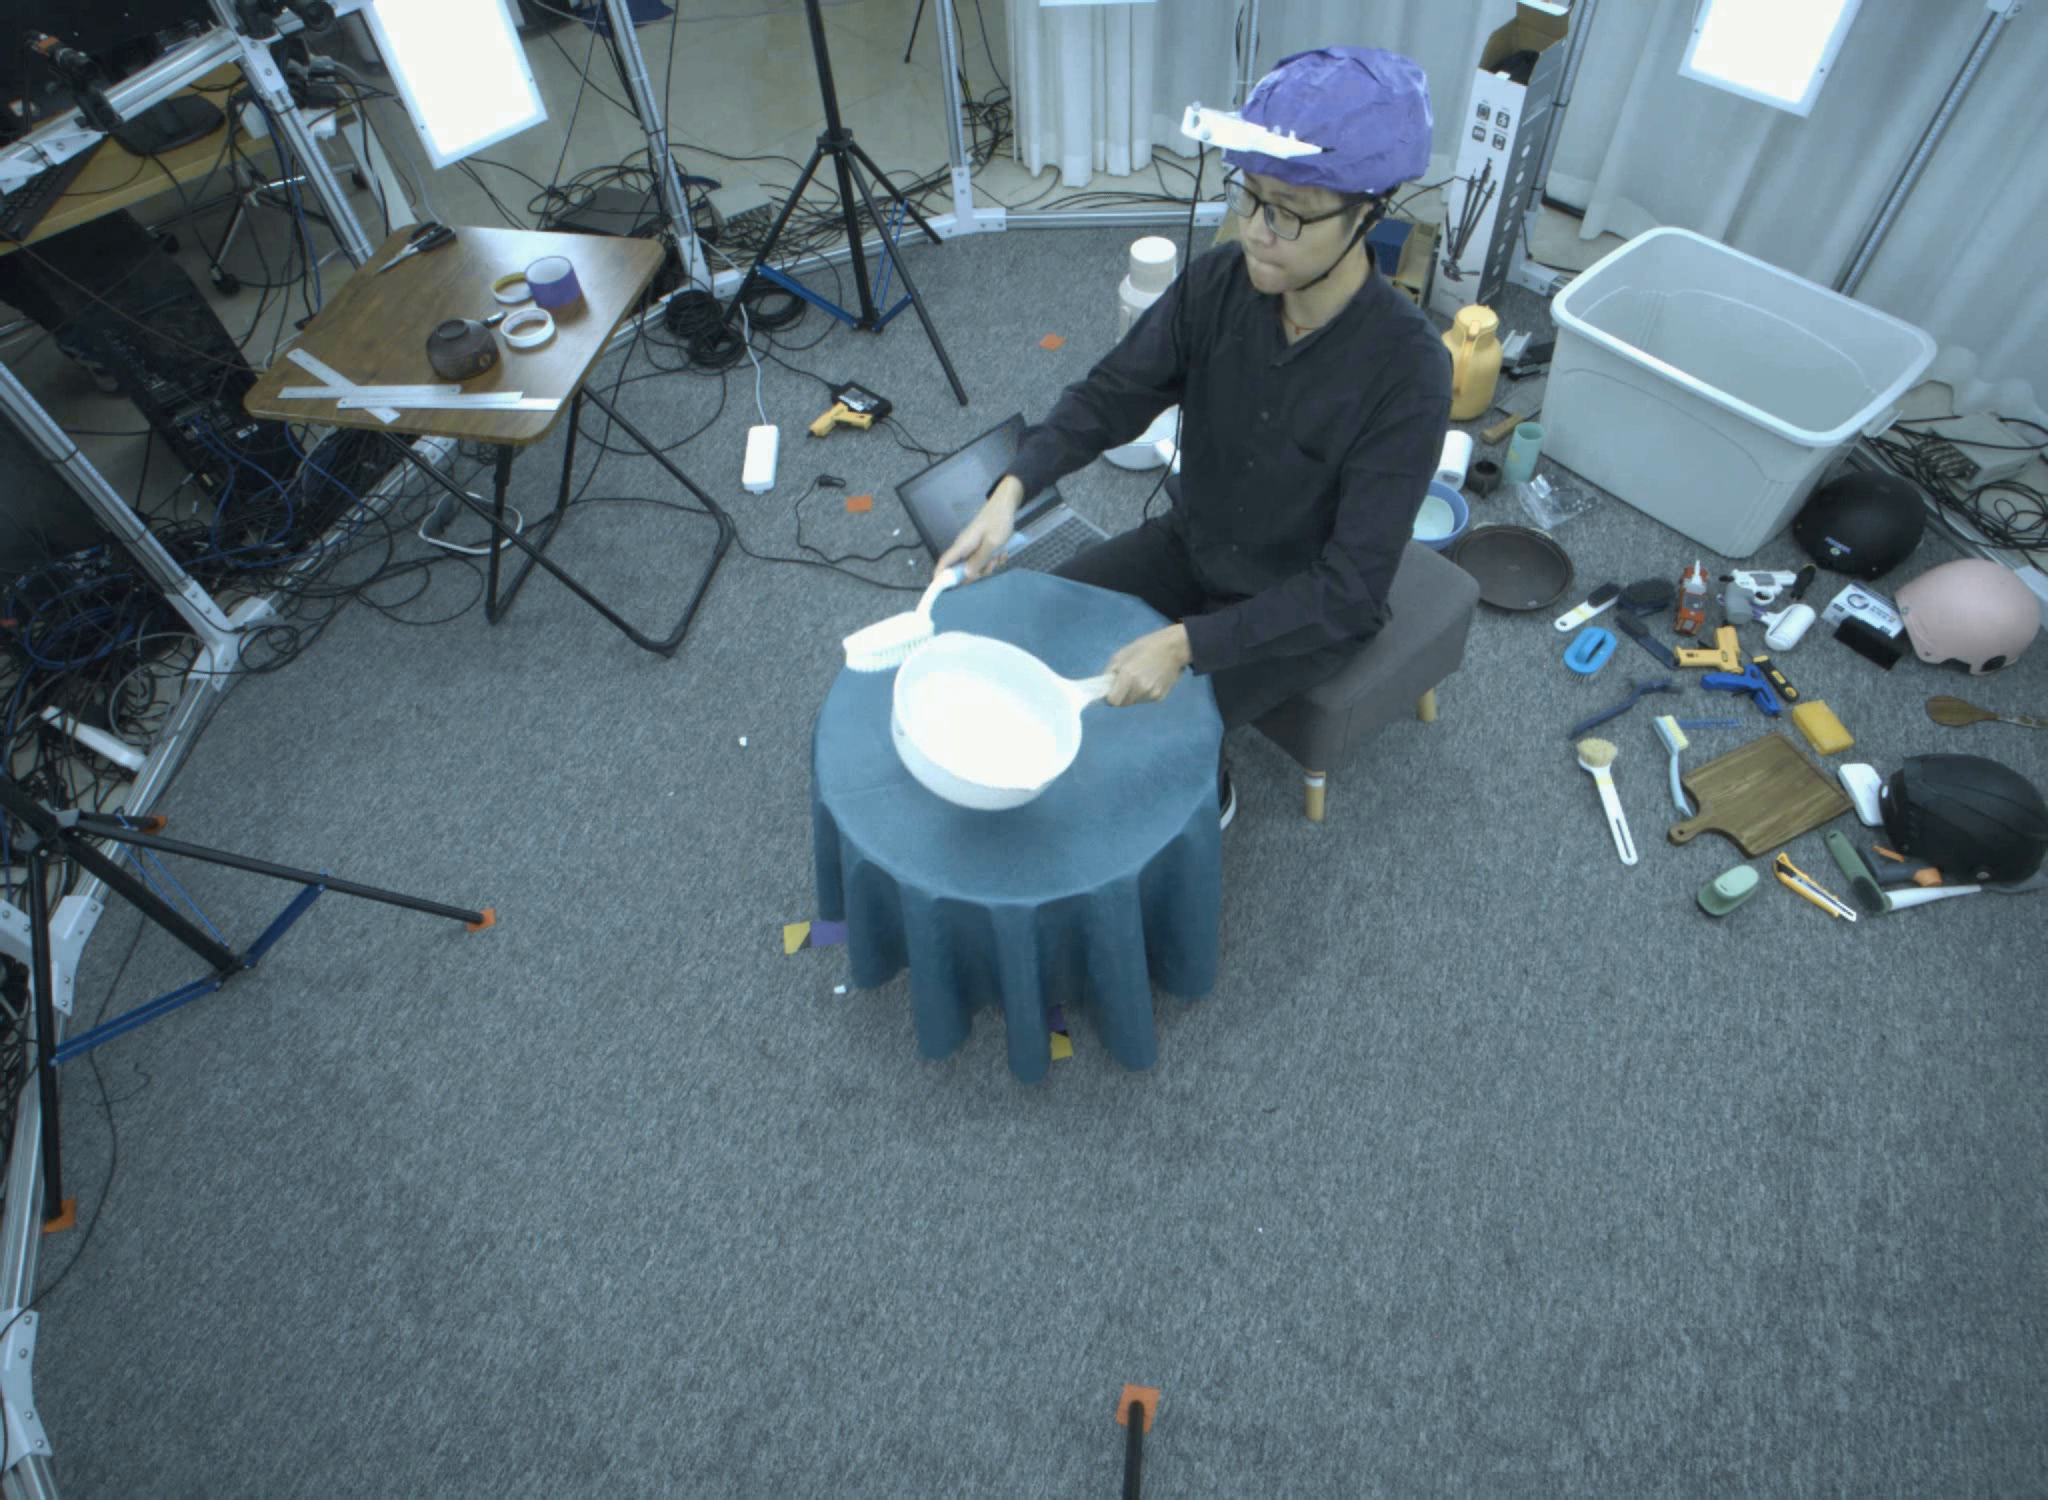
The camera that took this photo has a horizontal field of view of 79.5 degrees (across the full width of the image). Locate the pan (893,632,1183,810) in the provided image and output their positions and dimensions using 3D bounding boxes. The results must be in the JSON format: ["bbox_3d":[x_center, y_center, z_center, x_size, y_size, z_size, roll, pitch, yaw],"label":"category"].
[{"bbox_3d":[0.026,-0.051,1.644,0.442,0.102,0.259,-11,59,-33],"label":"pan"}]

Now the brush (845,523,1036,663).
[{"bbox_3d":[-0.104,-0.204,1.707,0.328,0.084,0.082,-34,78,-21],"label":"brush"}]
